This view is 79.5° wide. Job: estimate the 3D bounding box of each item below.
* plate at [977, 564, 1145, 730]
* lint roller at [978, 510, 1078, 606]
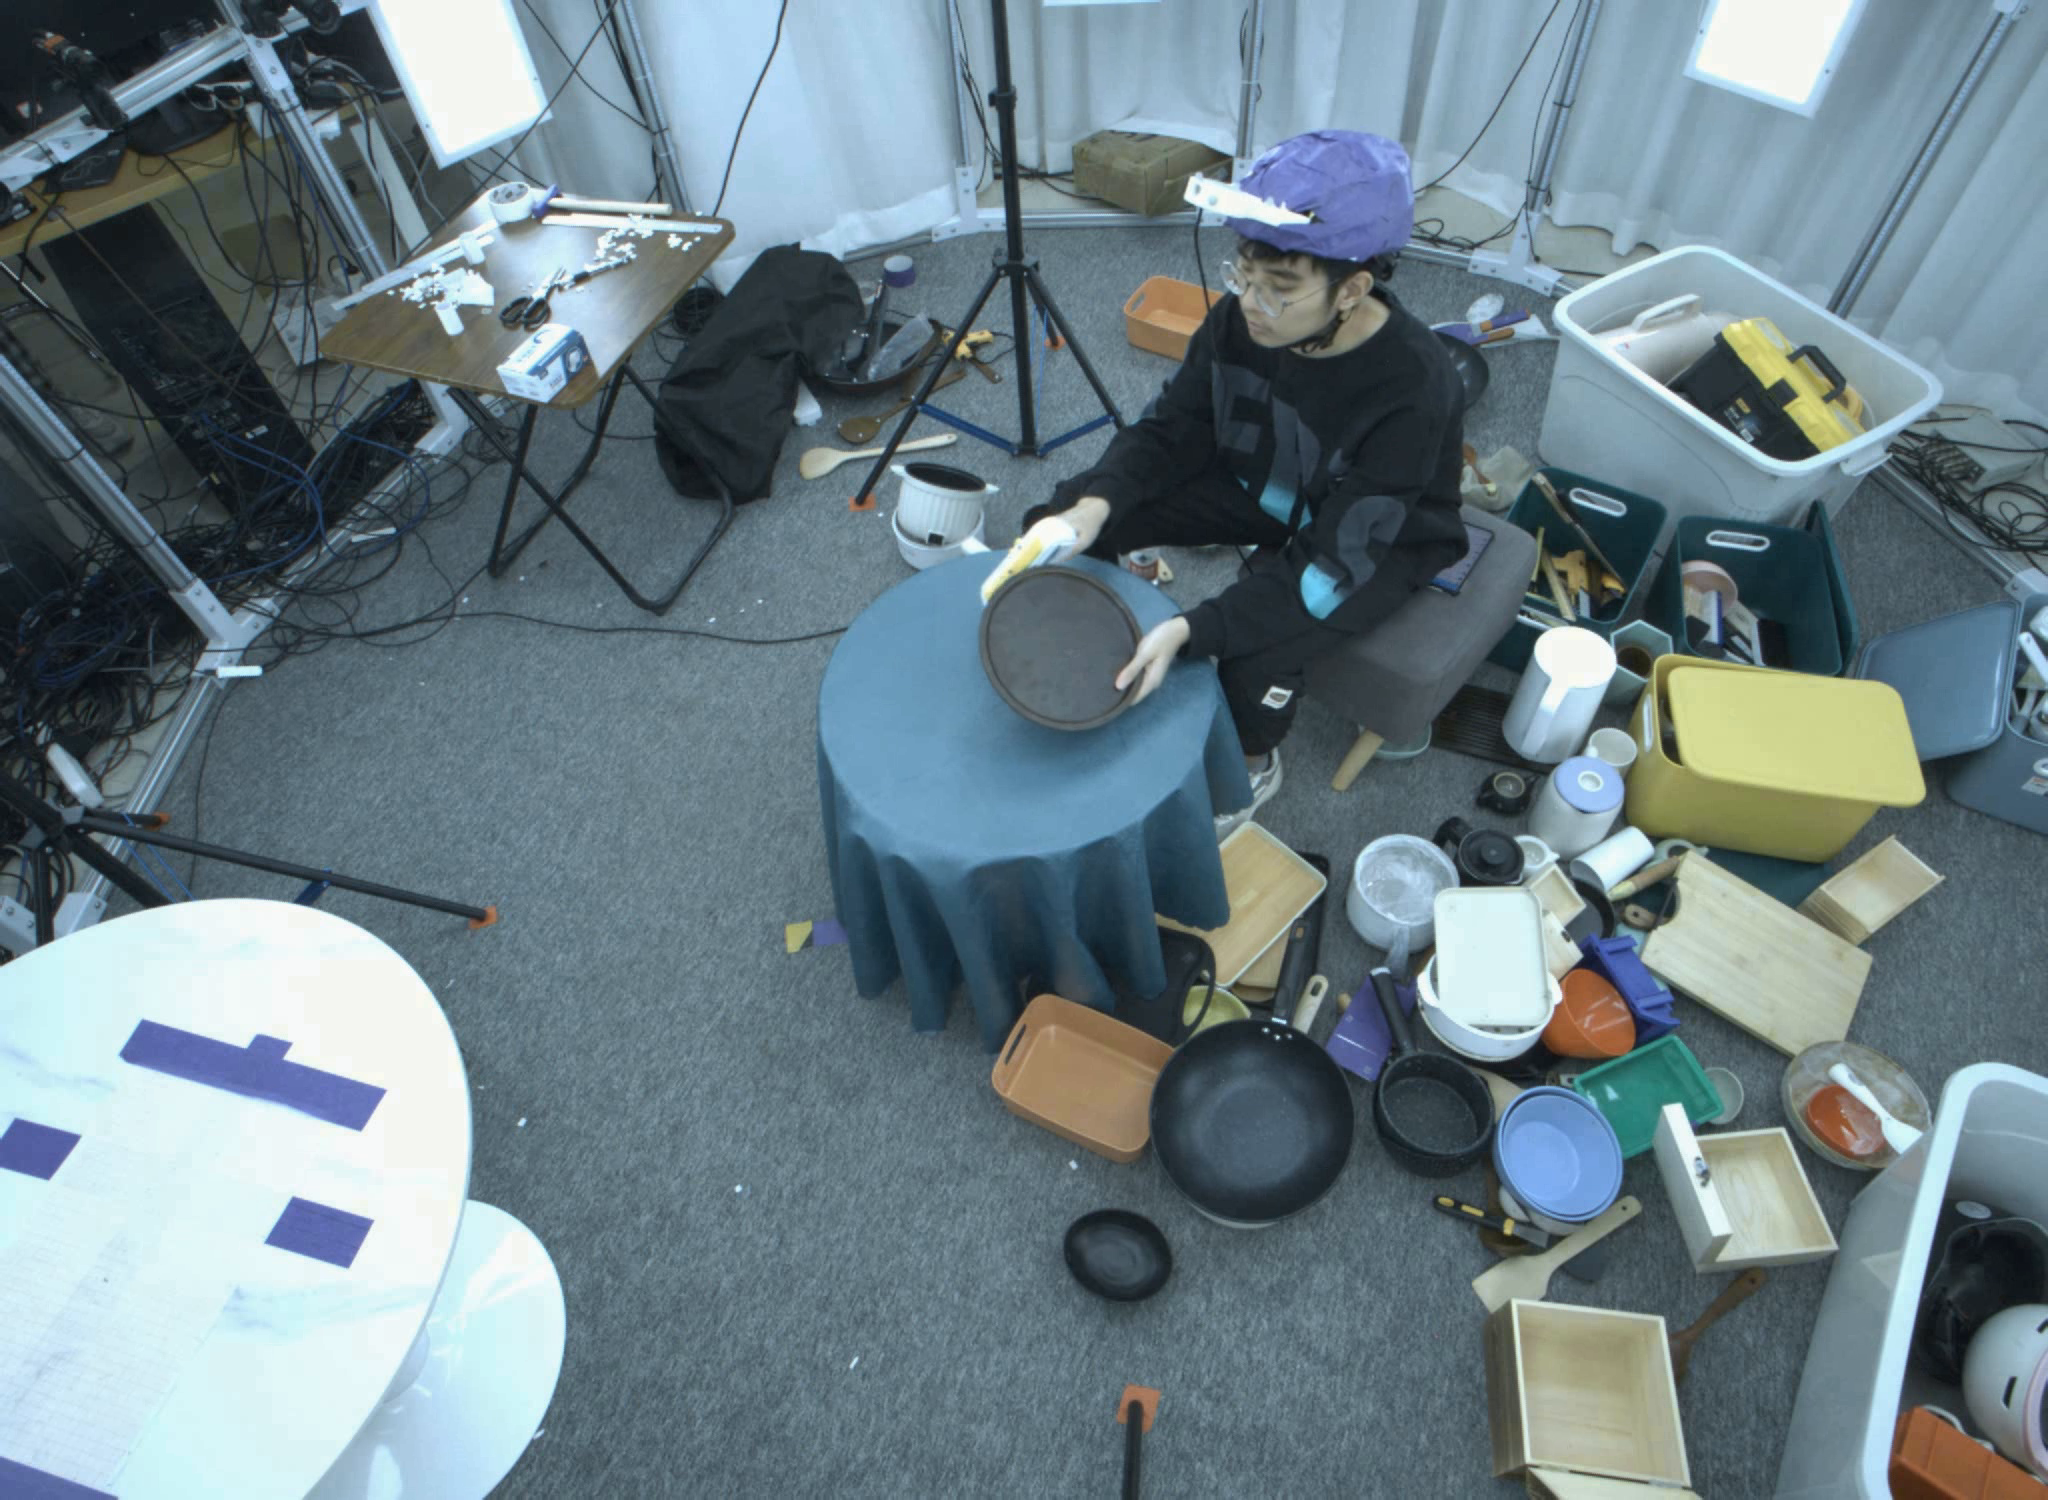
[{"bbox_3d":[0.053,-0.147,1.757,0.258,0.029,0.253,7,71,-19],"label":"plate"},{"bbox_3d":[0.031,-0.296,1.852,0.073,0.191,0.195,51,36,12],"label":"lint roller"}]
